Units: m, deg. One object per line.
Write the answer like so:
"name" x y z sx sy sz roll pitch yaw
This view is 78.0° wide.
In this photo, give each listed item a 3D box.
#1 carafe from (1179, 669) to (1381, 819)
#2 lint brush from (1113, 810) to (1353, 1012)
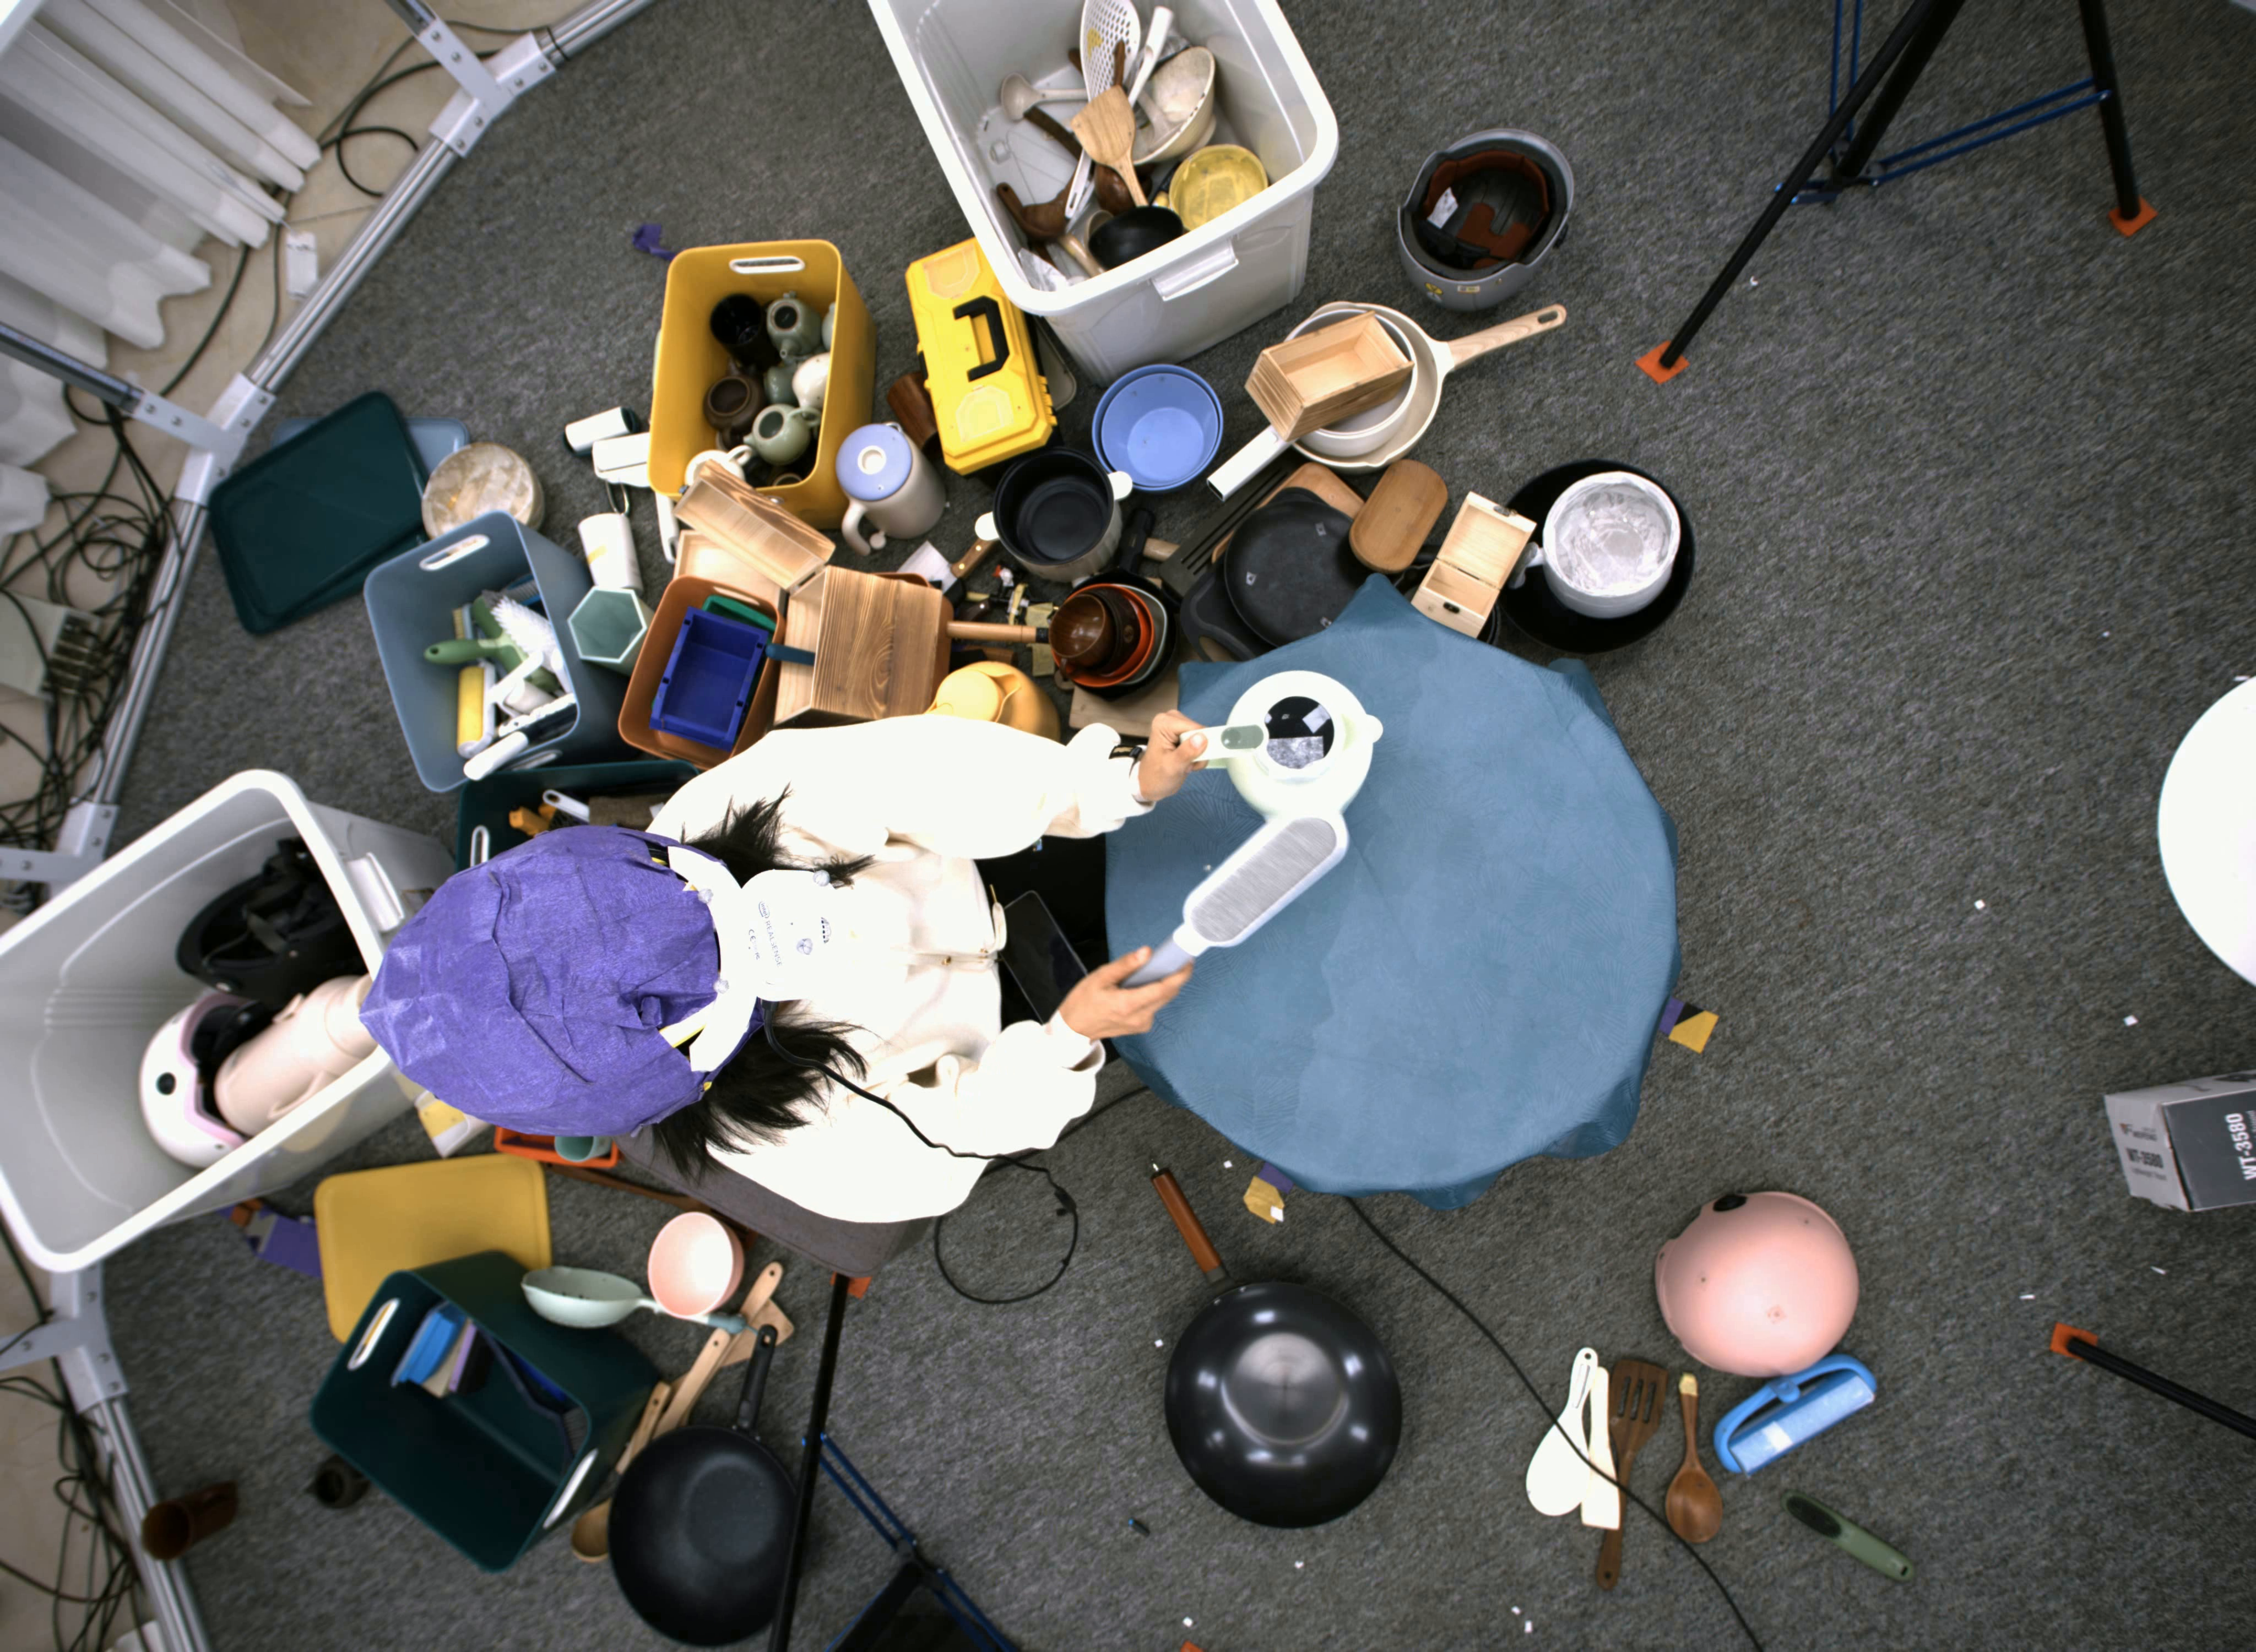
"carafe" 0.148 -0.078 1.310 0.188 0.255 0.144 -4 90 11
"lint brush" 0.079 0.080 1.186 0.060 0.020 0.316 36 130 -12
